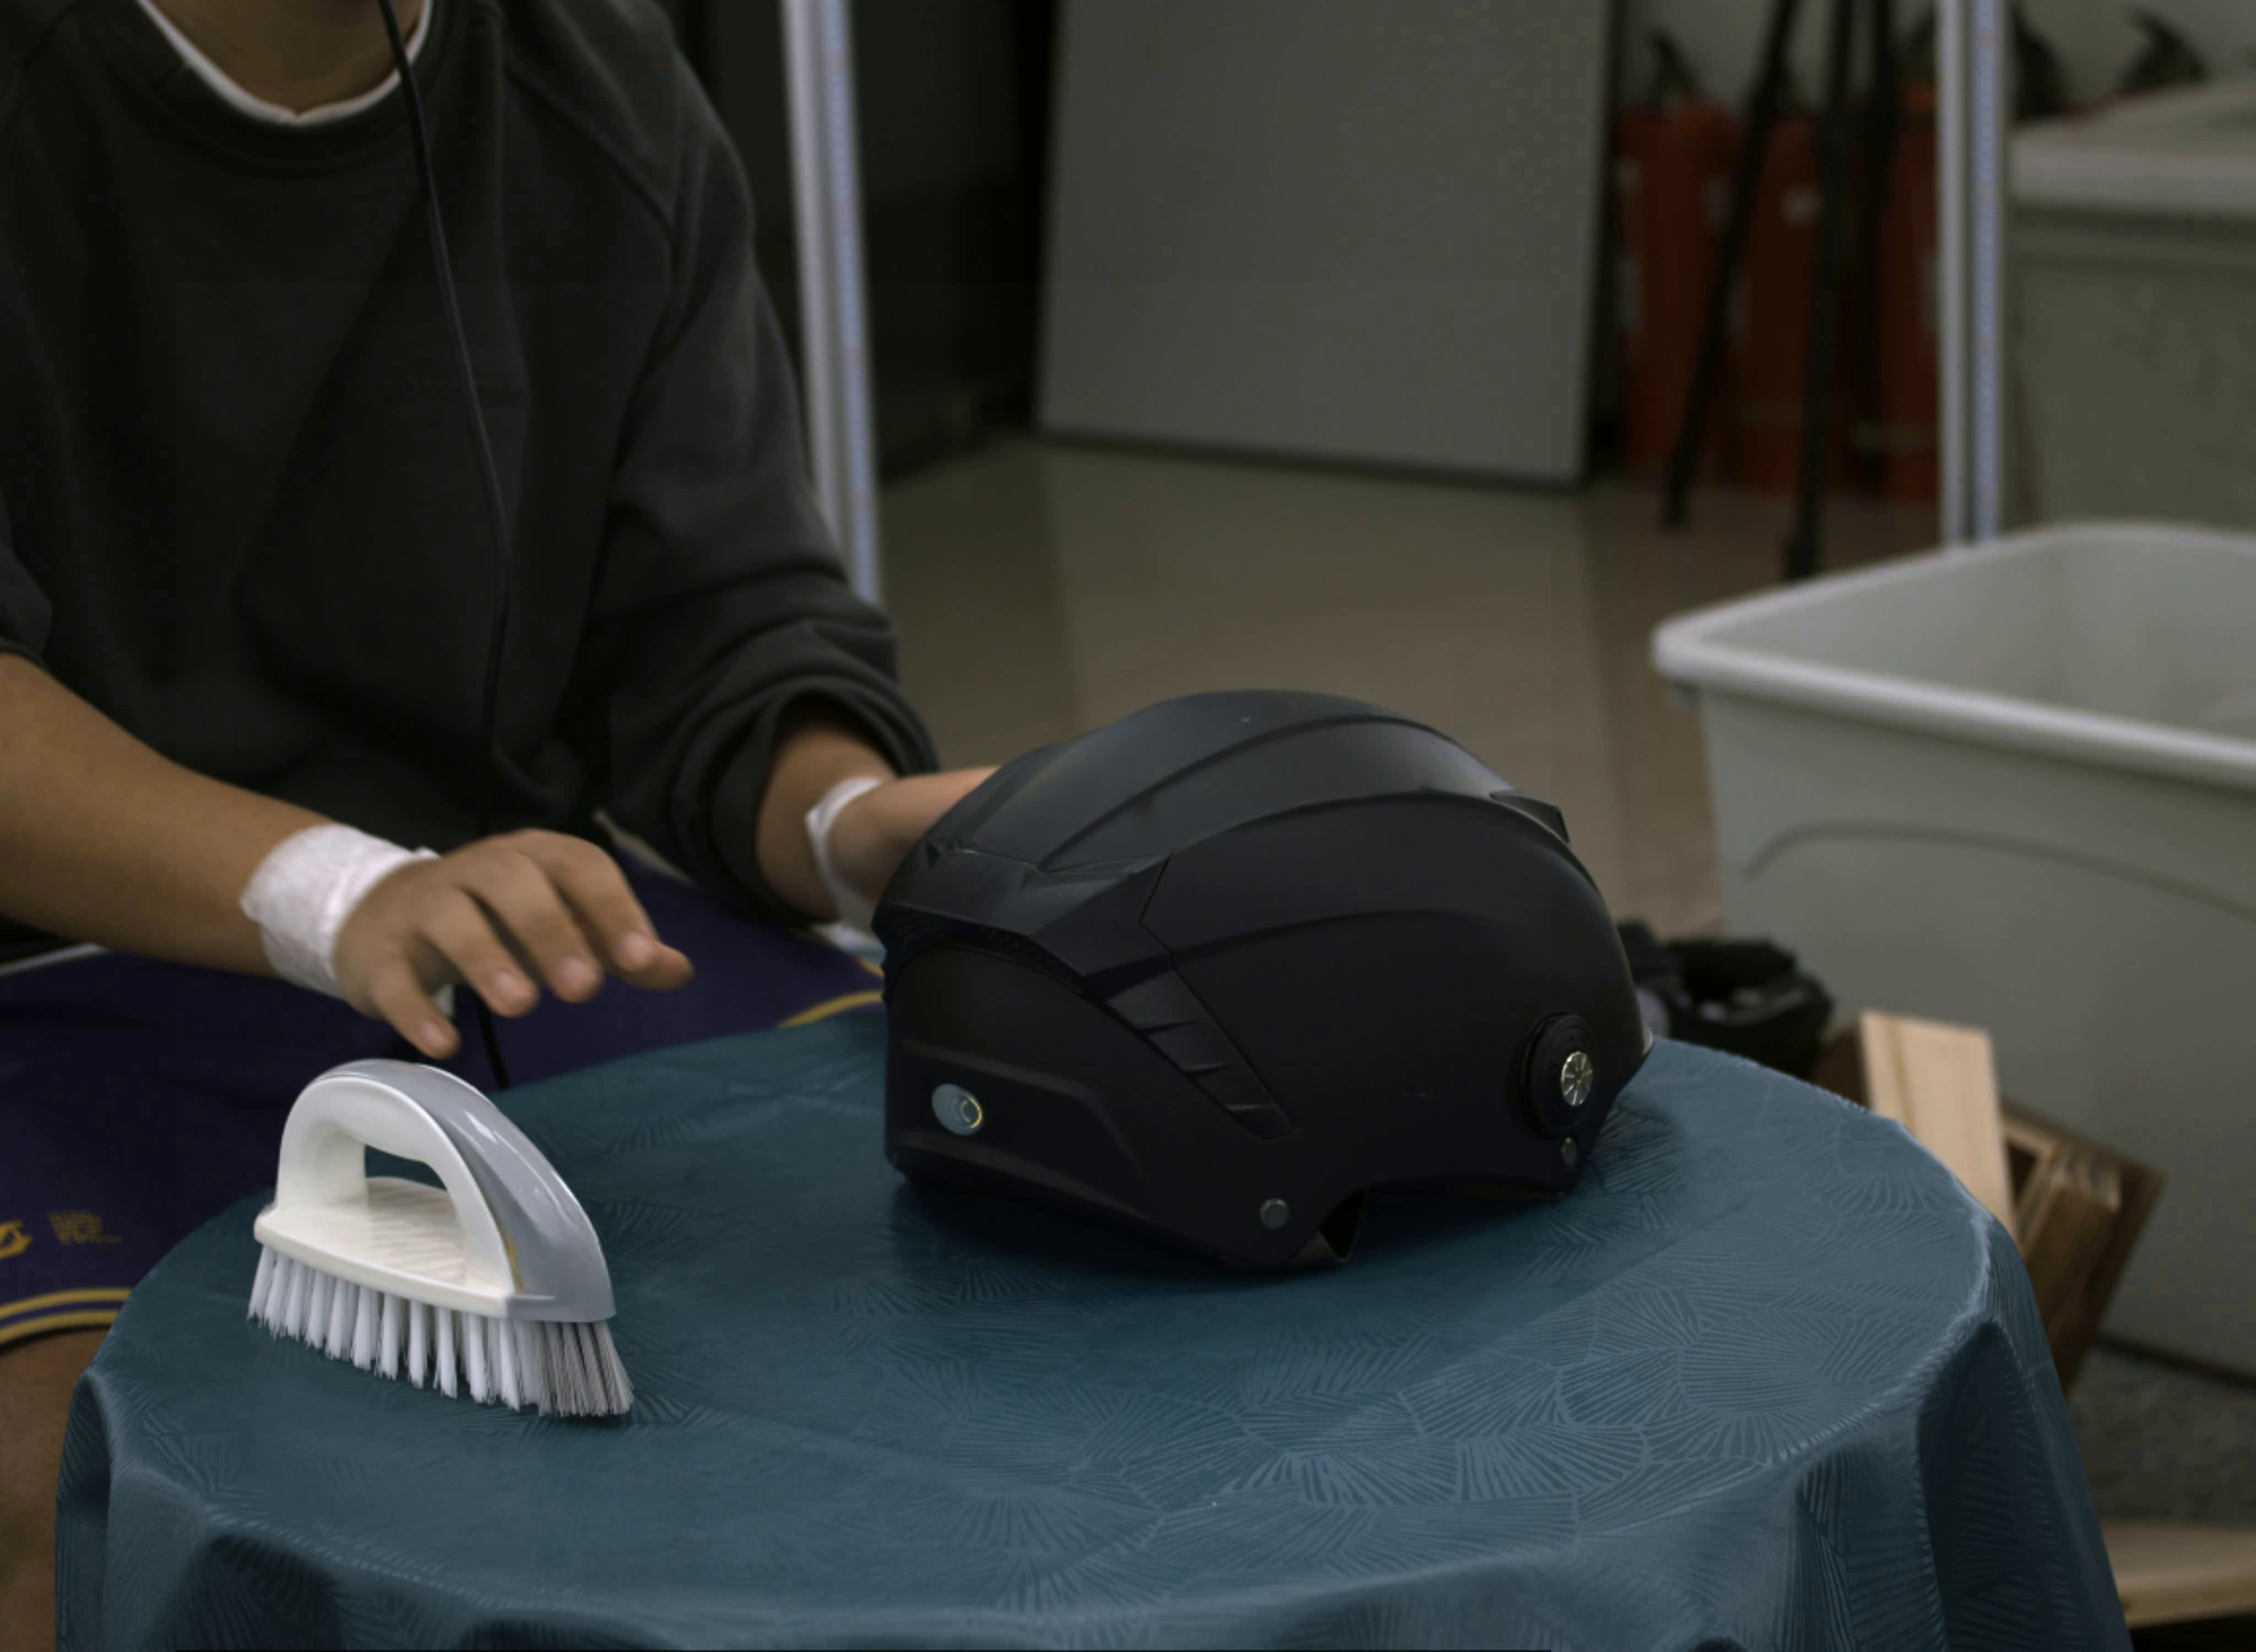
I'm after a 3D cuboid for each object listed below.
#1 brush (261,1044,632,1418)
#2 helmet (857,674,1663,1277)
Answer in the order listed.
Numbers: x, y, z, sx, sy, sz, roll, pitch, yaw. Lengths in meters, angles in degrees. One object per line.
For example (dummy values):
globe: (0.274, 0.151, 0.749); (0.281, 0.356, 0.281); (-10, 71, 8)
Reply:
brush: (-0.203, 0.119, 1.643); (0.060, 0.095, 0.177); (-15, 19, -35)
helmet: (0.043, 0.037, 1.764); (0.271, 0.174, 0.249); (-20, 21, -38)
